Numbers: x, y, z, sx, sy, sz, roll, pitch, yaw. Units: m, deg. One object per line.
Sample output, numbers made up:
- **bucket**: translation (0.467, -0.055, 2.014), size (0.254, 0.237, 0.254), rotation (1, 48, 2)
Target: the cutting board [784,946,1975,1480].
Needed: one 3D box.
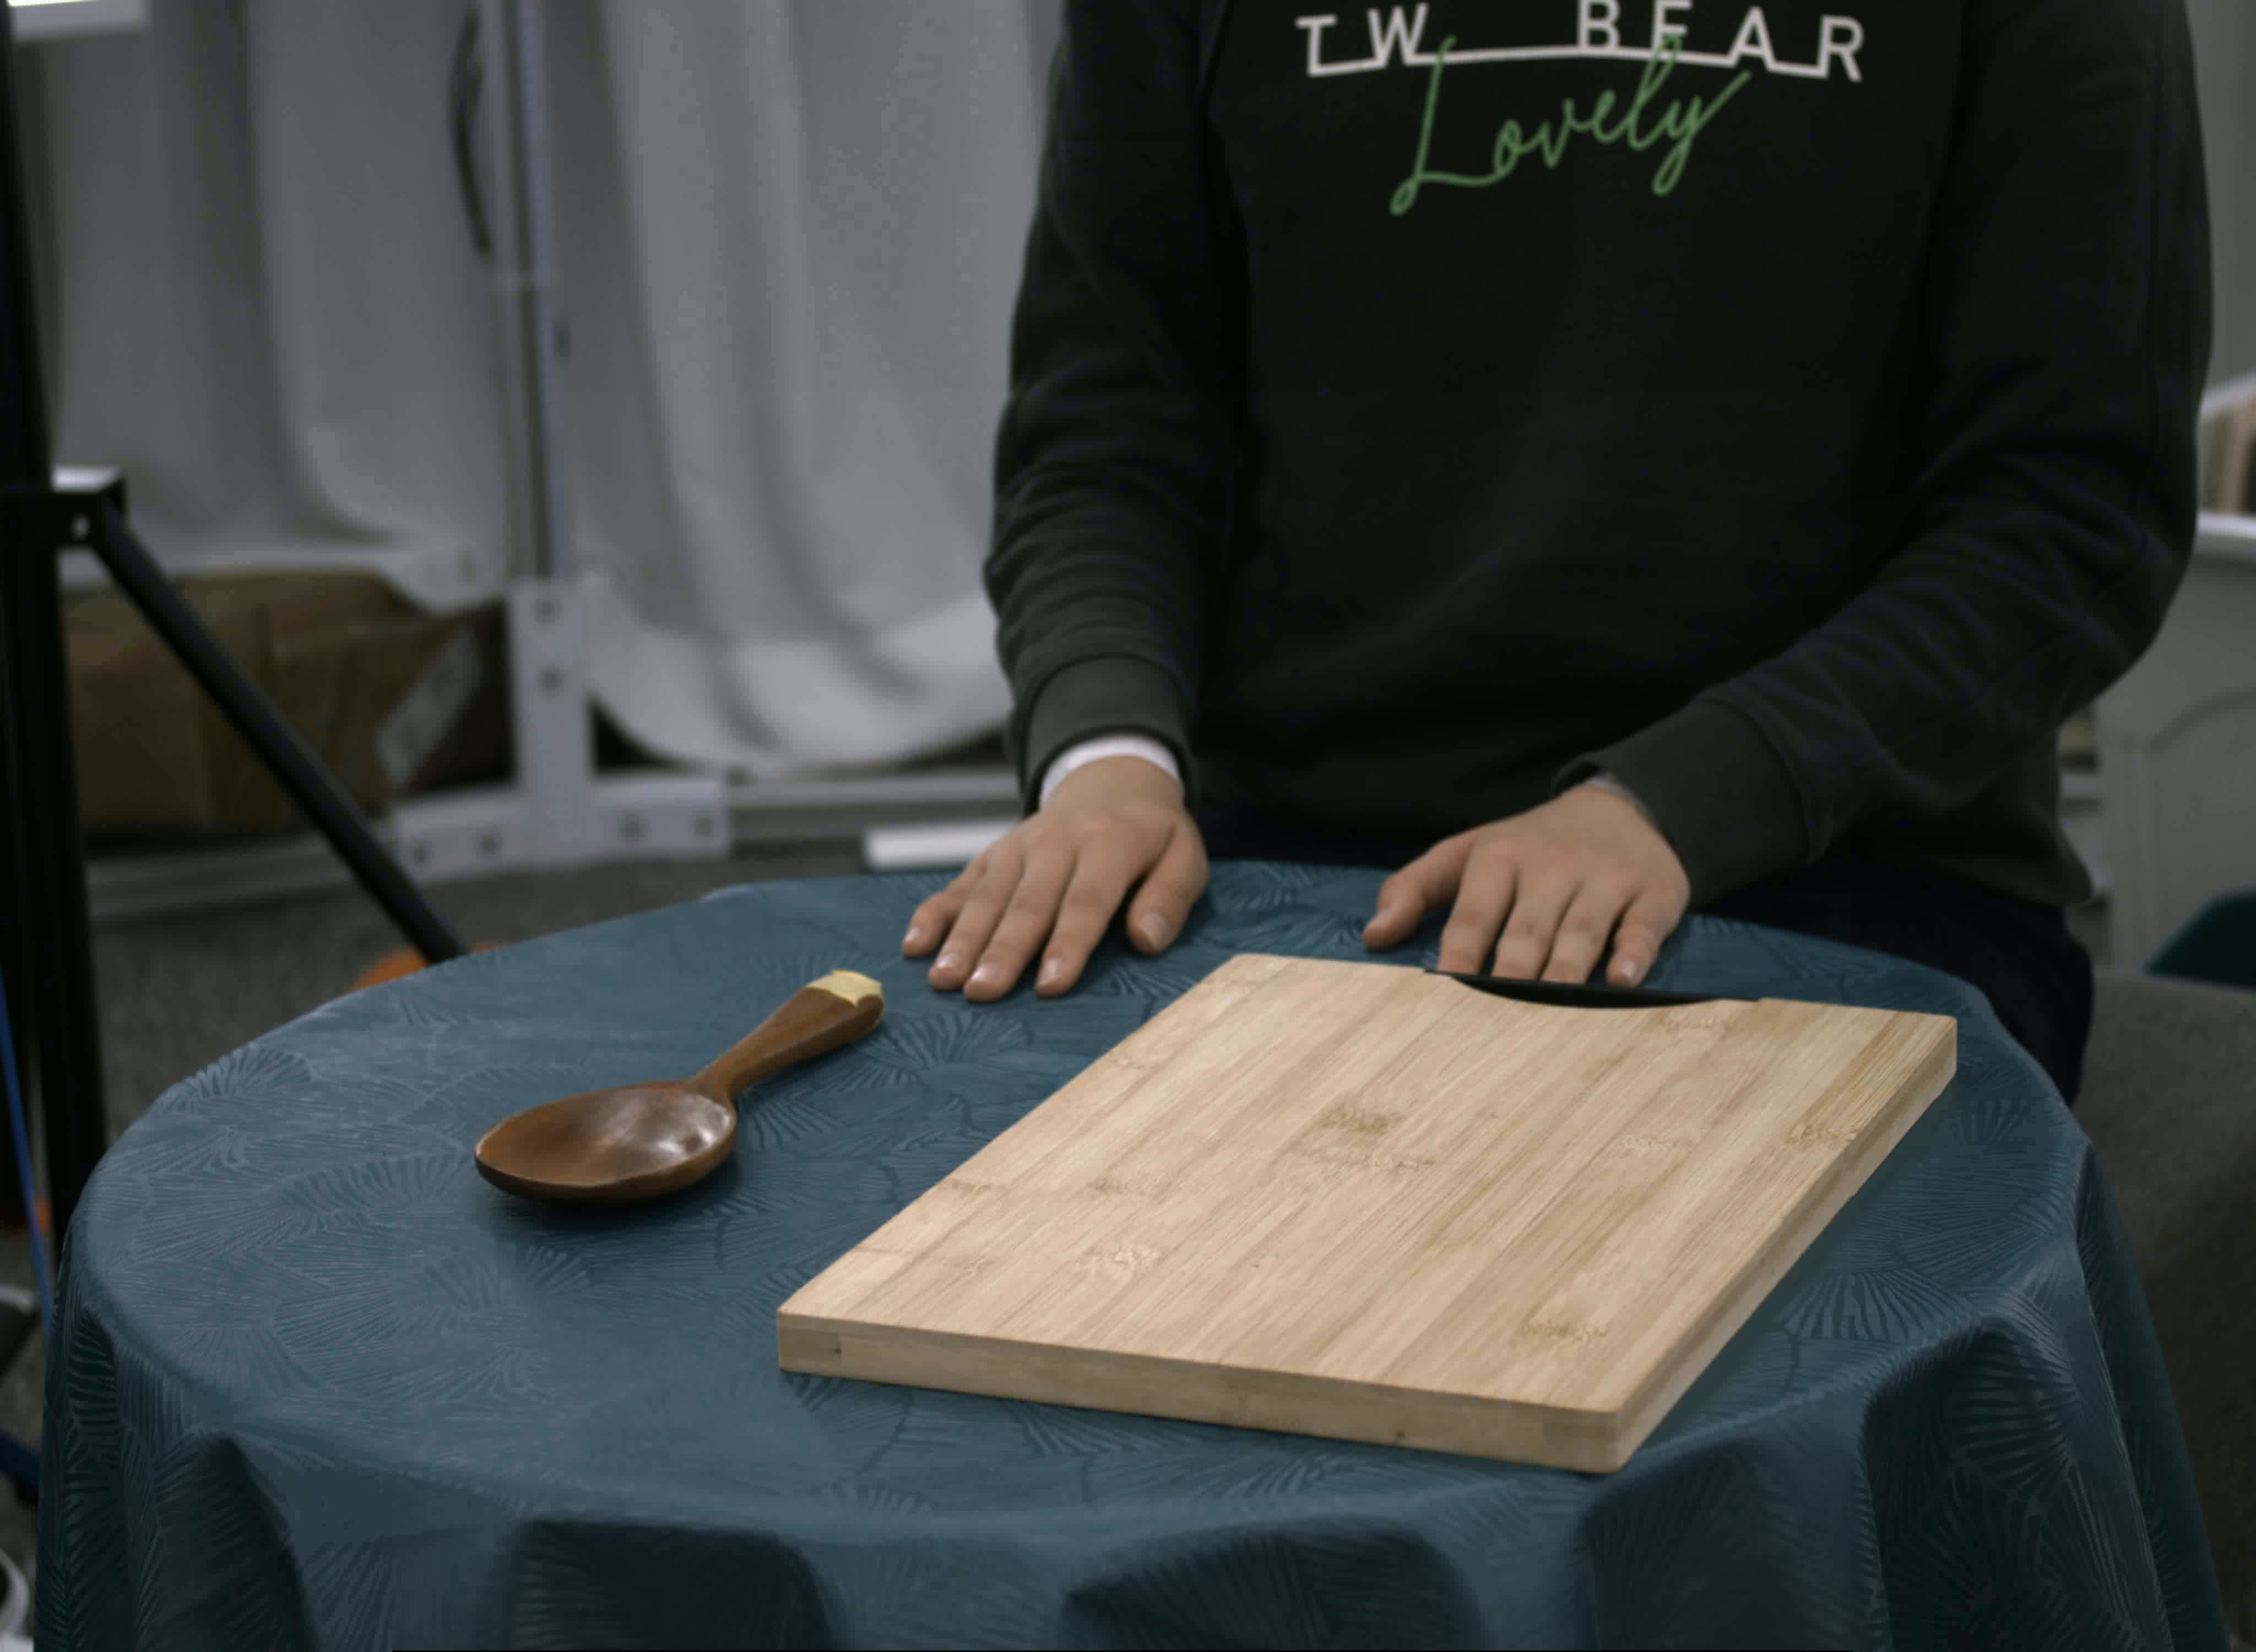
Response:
- **cutting board**: translation (0.083, 0.103, 1.534), size (0.254, 0.023, 0.344), rotation (5, 17, 23)

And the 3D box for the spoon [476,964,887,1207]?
- **spoon**: translation (-0.128, 0.081, 1.642), size (0.076, 0.017, 0.213), rotation (4, 17, 24)
